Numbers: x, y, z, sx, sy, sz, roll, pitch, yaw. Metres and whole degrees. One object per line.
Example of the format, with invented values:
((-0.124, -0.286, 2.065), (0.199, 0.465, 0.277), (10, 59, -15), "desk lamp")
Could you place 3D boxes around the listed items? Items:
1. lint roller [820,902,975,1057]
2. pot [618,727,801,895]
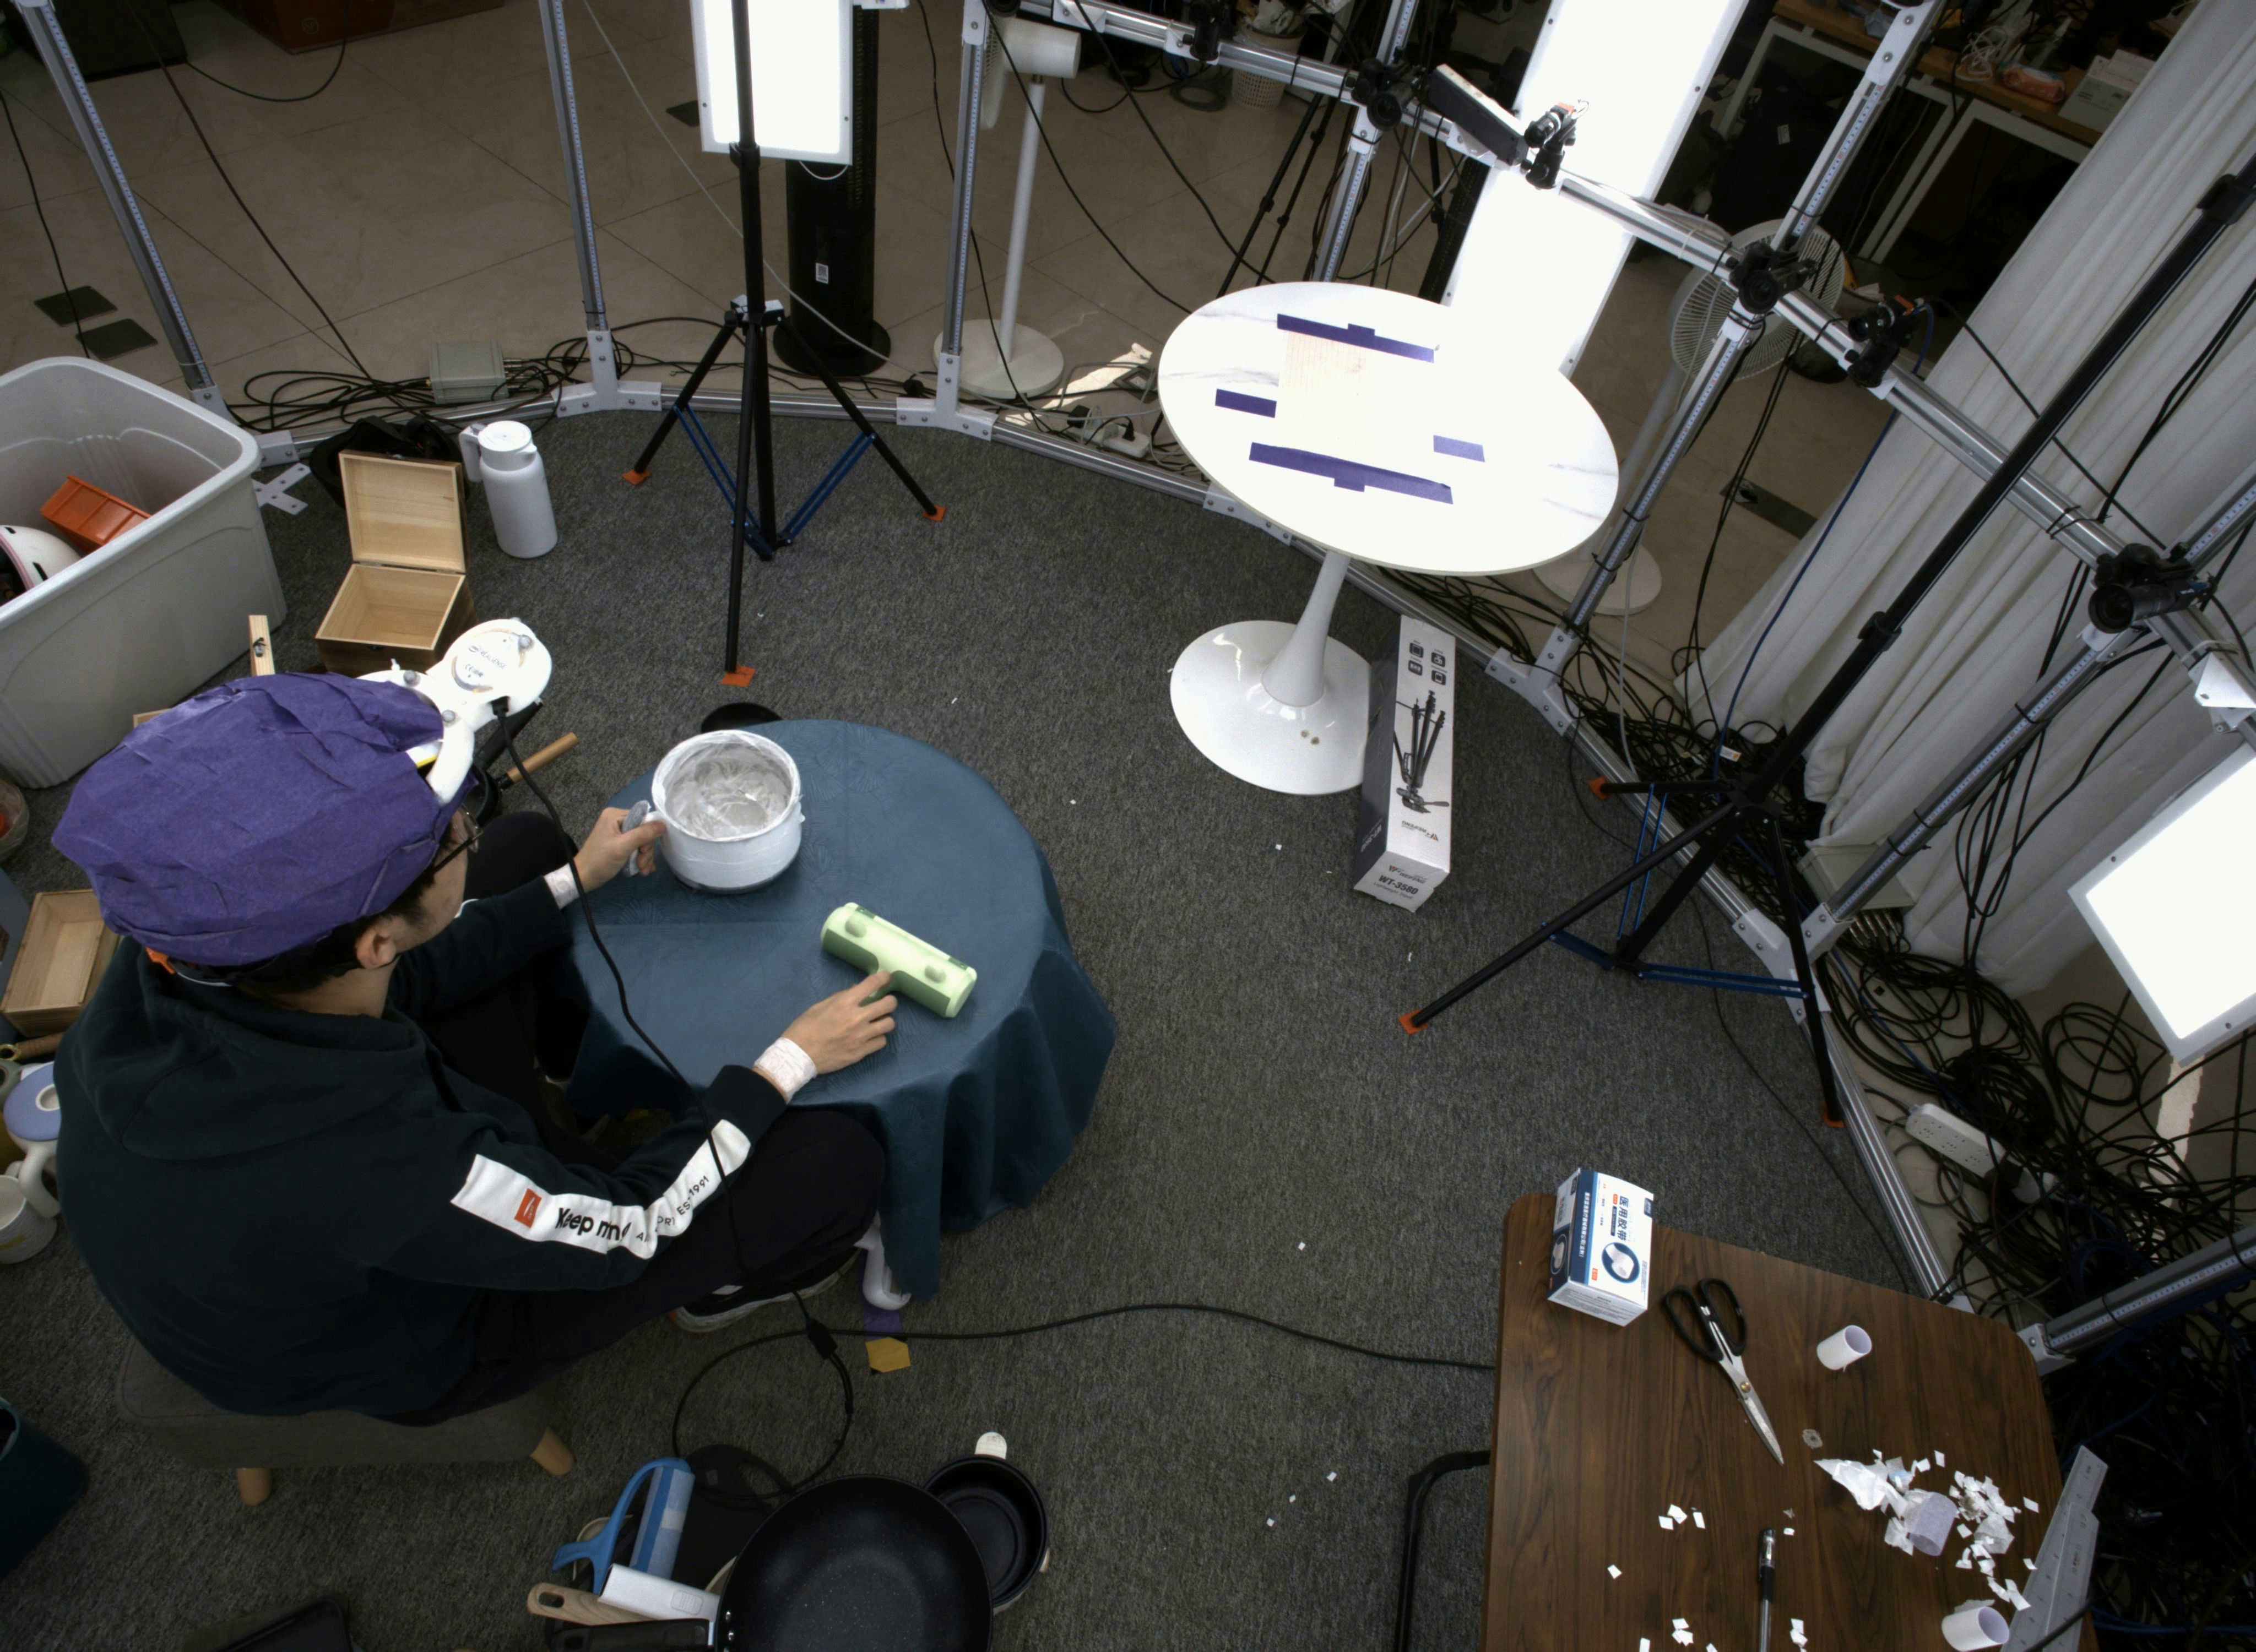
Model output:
((-0.310, 0.193, 1.569), (0.196, 0.084, 0.182), (29, 47, 7), "lint roller")
((-0.527, -0.008, 1.619), (0.235, 0.139, 0.174), (-18, 59, -26), "pot")
